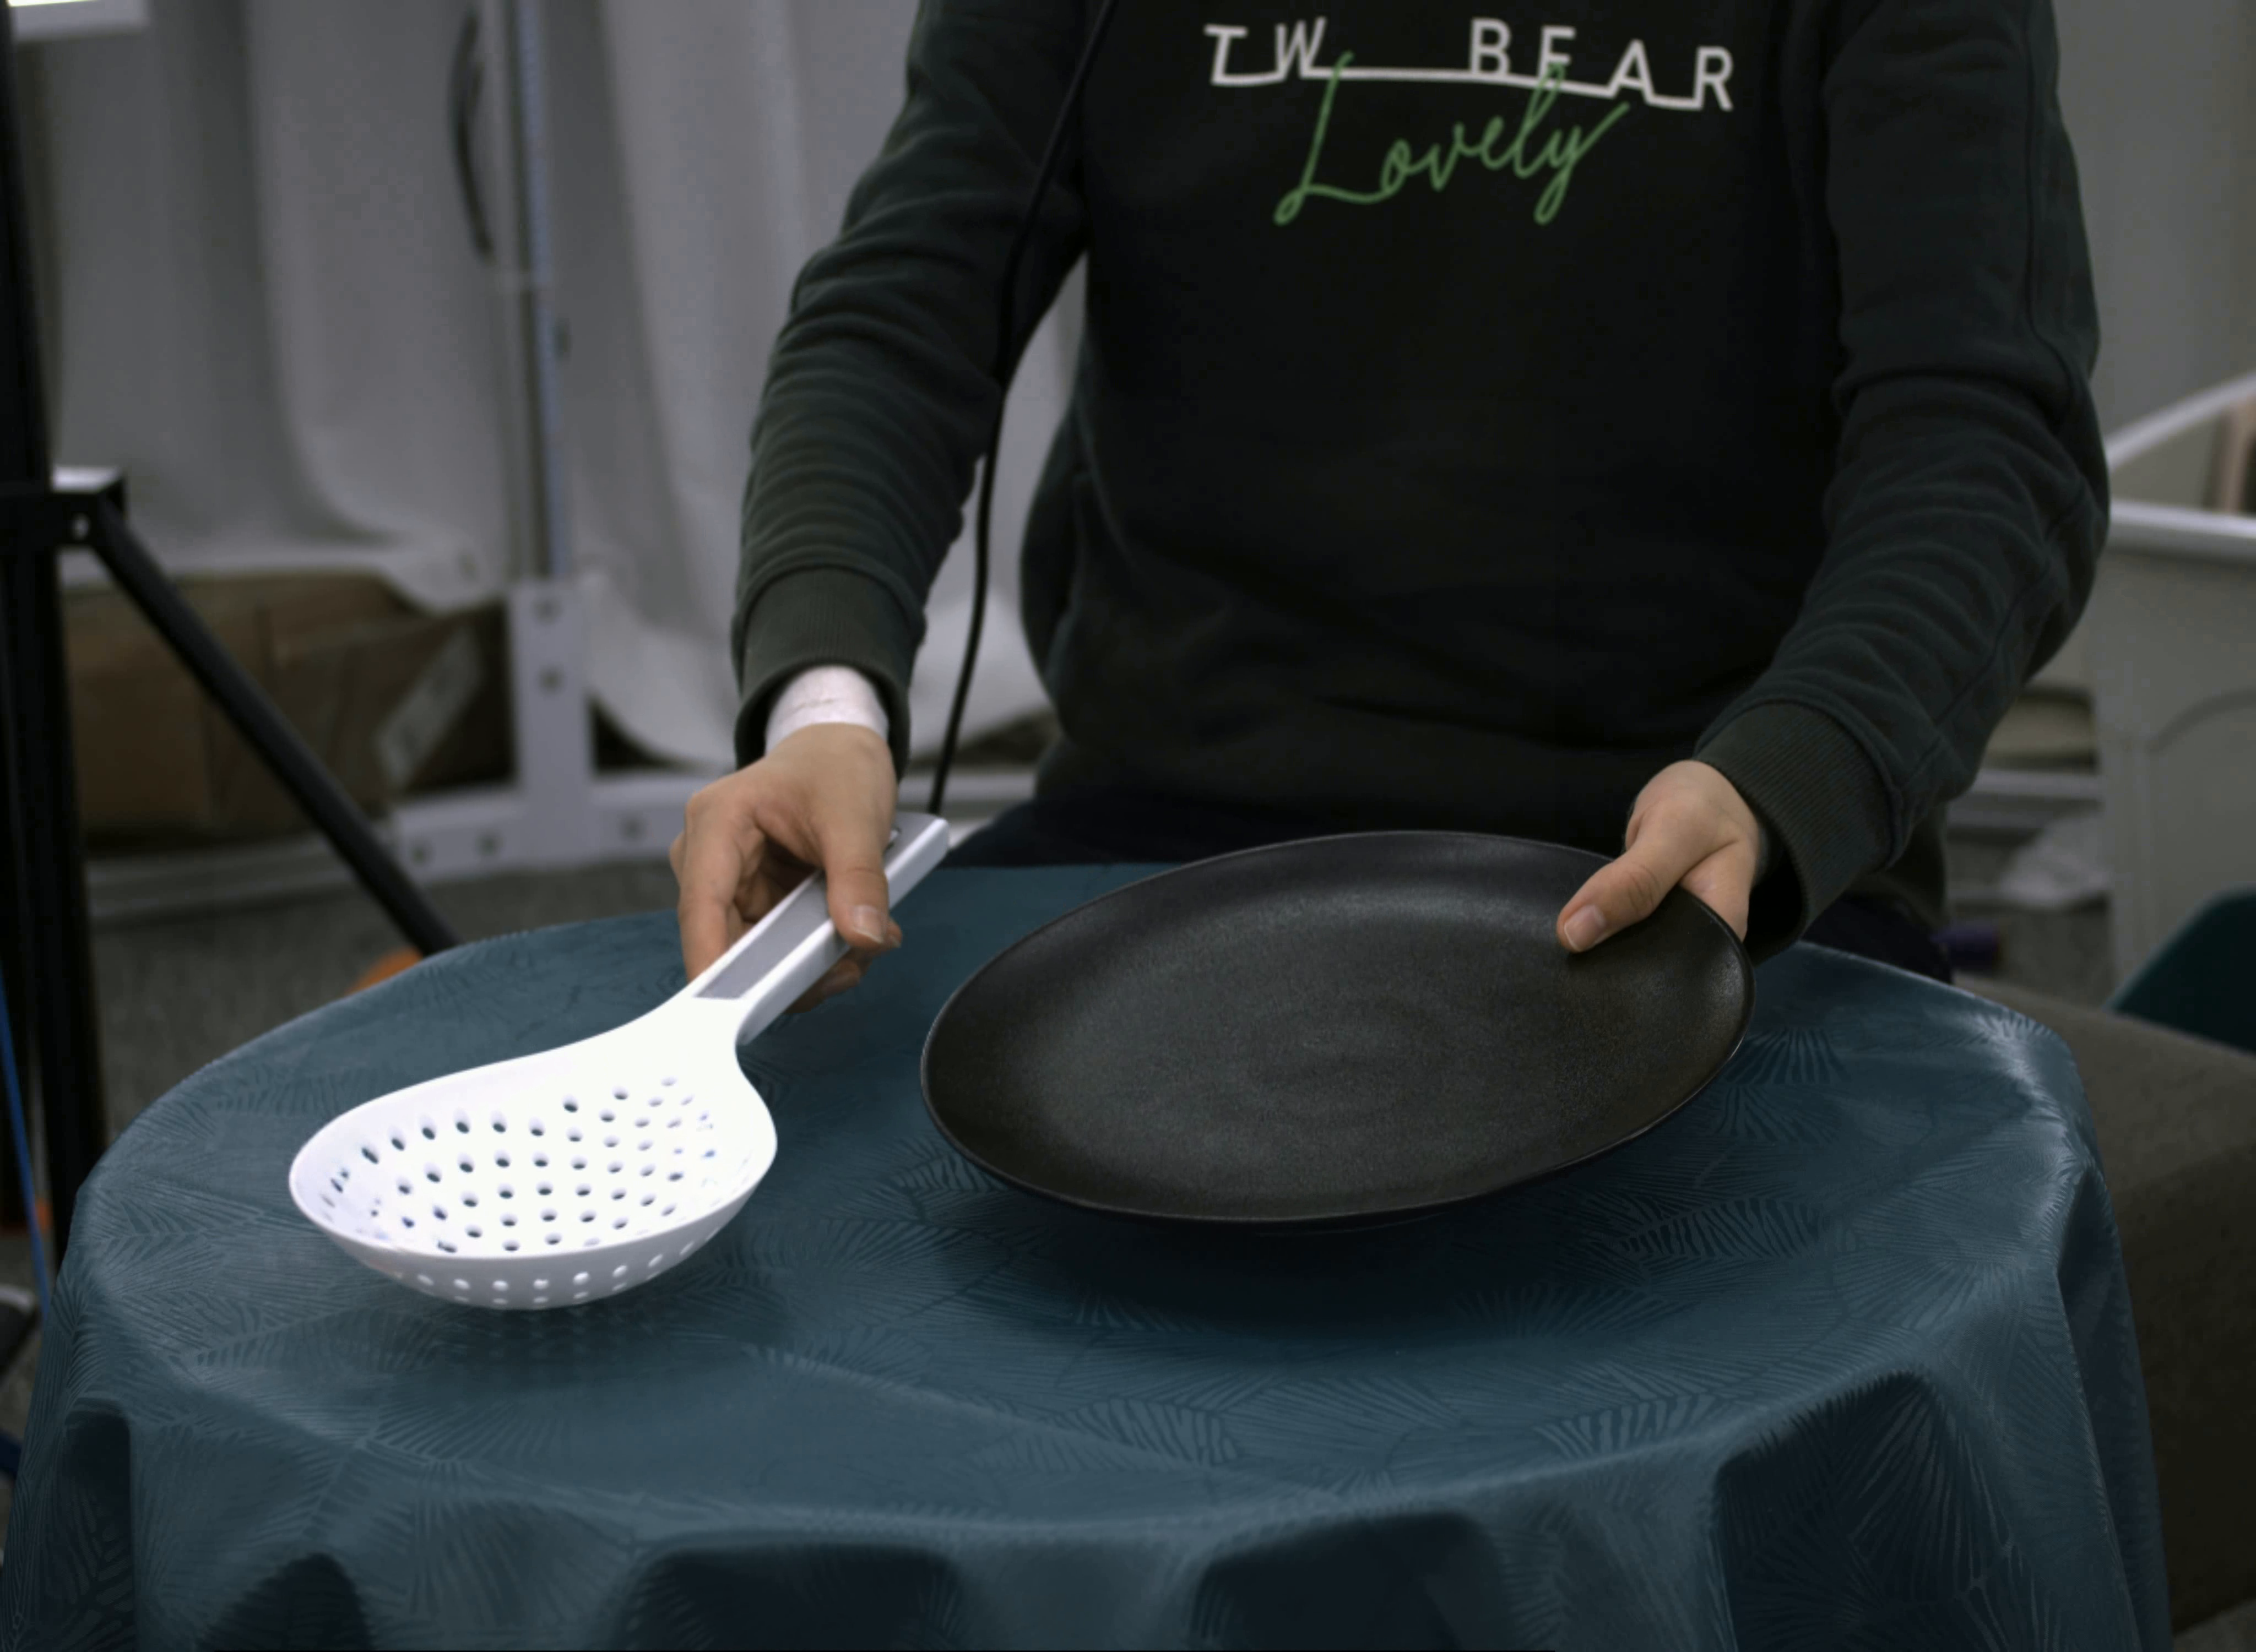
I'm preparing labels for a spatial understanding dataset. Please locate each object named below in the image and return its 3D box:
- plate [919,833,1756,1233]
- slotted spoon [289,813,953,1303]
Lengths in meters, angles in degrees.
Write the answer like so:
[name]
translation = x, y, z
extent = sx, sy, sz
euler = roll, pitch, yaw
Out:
[plate]
translation = 0.061, 0.064, 1.538
extent = 0.244, 0.023, 0.246
euler = -8, 24, 2
[slotted spoon]
translation = -0.129, 0.061, 1.587
extent = 0.137, 0.045, 0.346
euler = 5, 26, 20
